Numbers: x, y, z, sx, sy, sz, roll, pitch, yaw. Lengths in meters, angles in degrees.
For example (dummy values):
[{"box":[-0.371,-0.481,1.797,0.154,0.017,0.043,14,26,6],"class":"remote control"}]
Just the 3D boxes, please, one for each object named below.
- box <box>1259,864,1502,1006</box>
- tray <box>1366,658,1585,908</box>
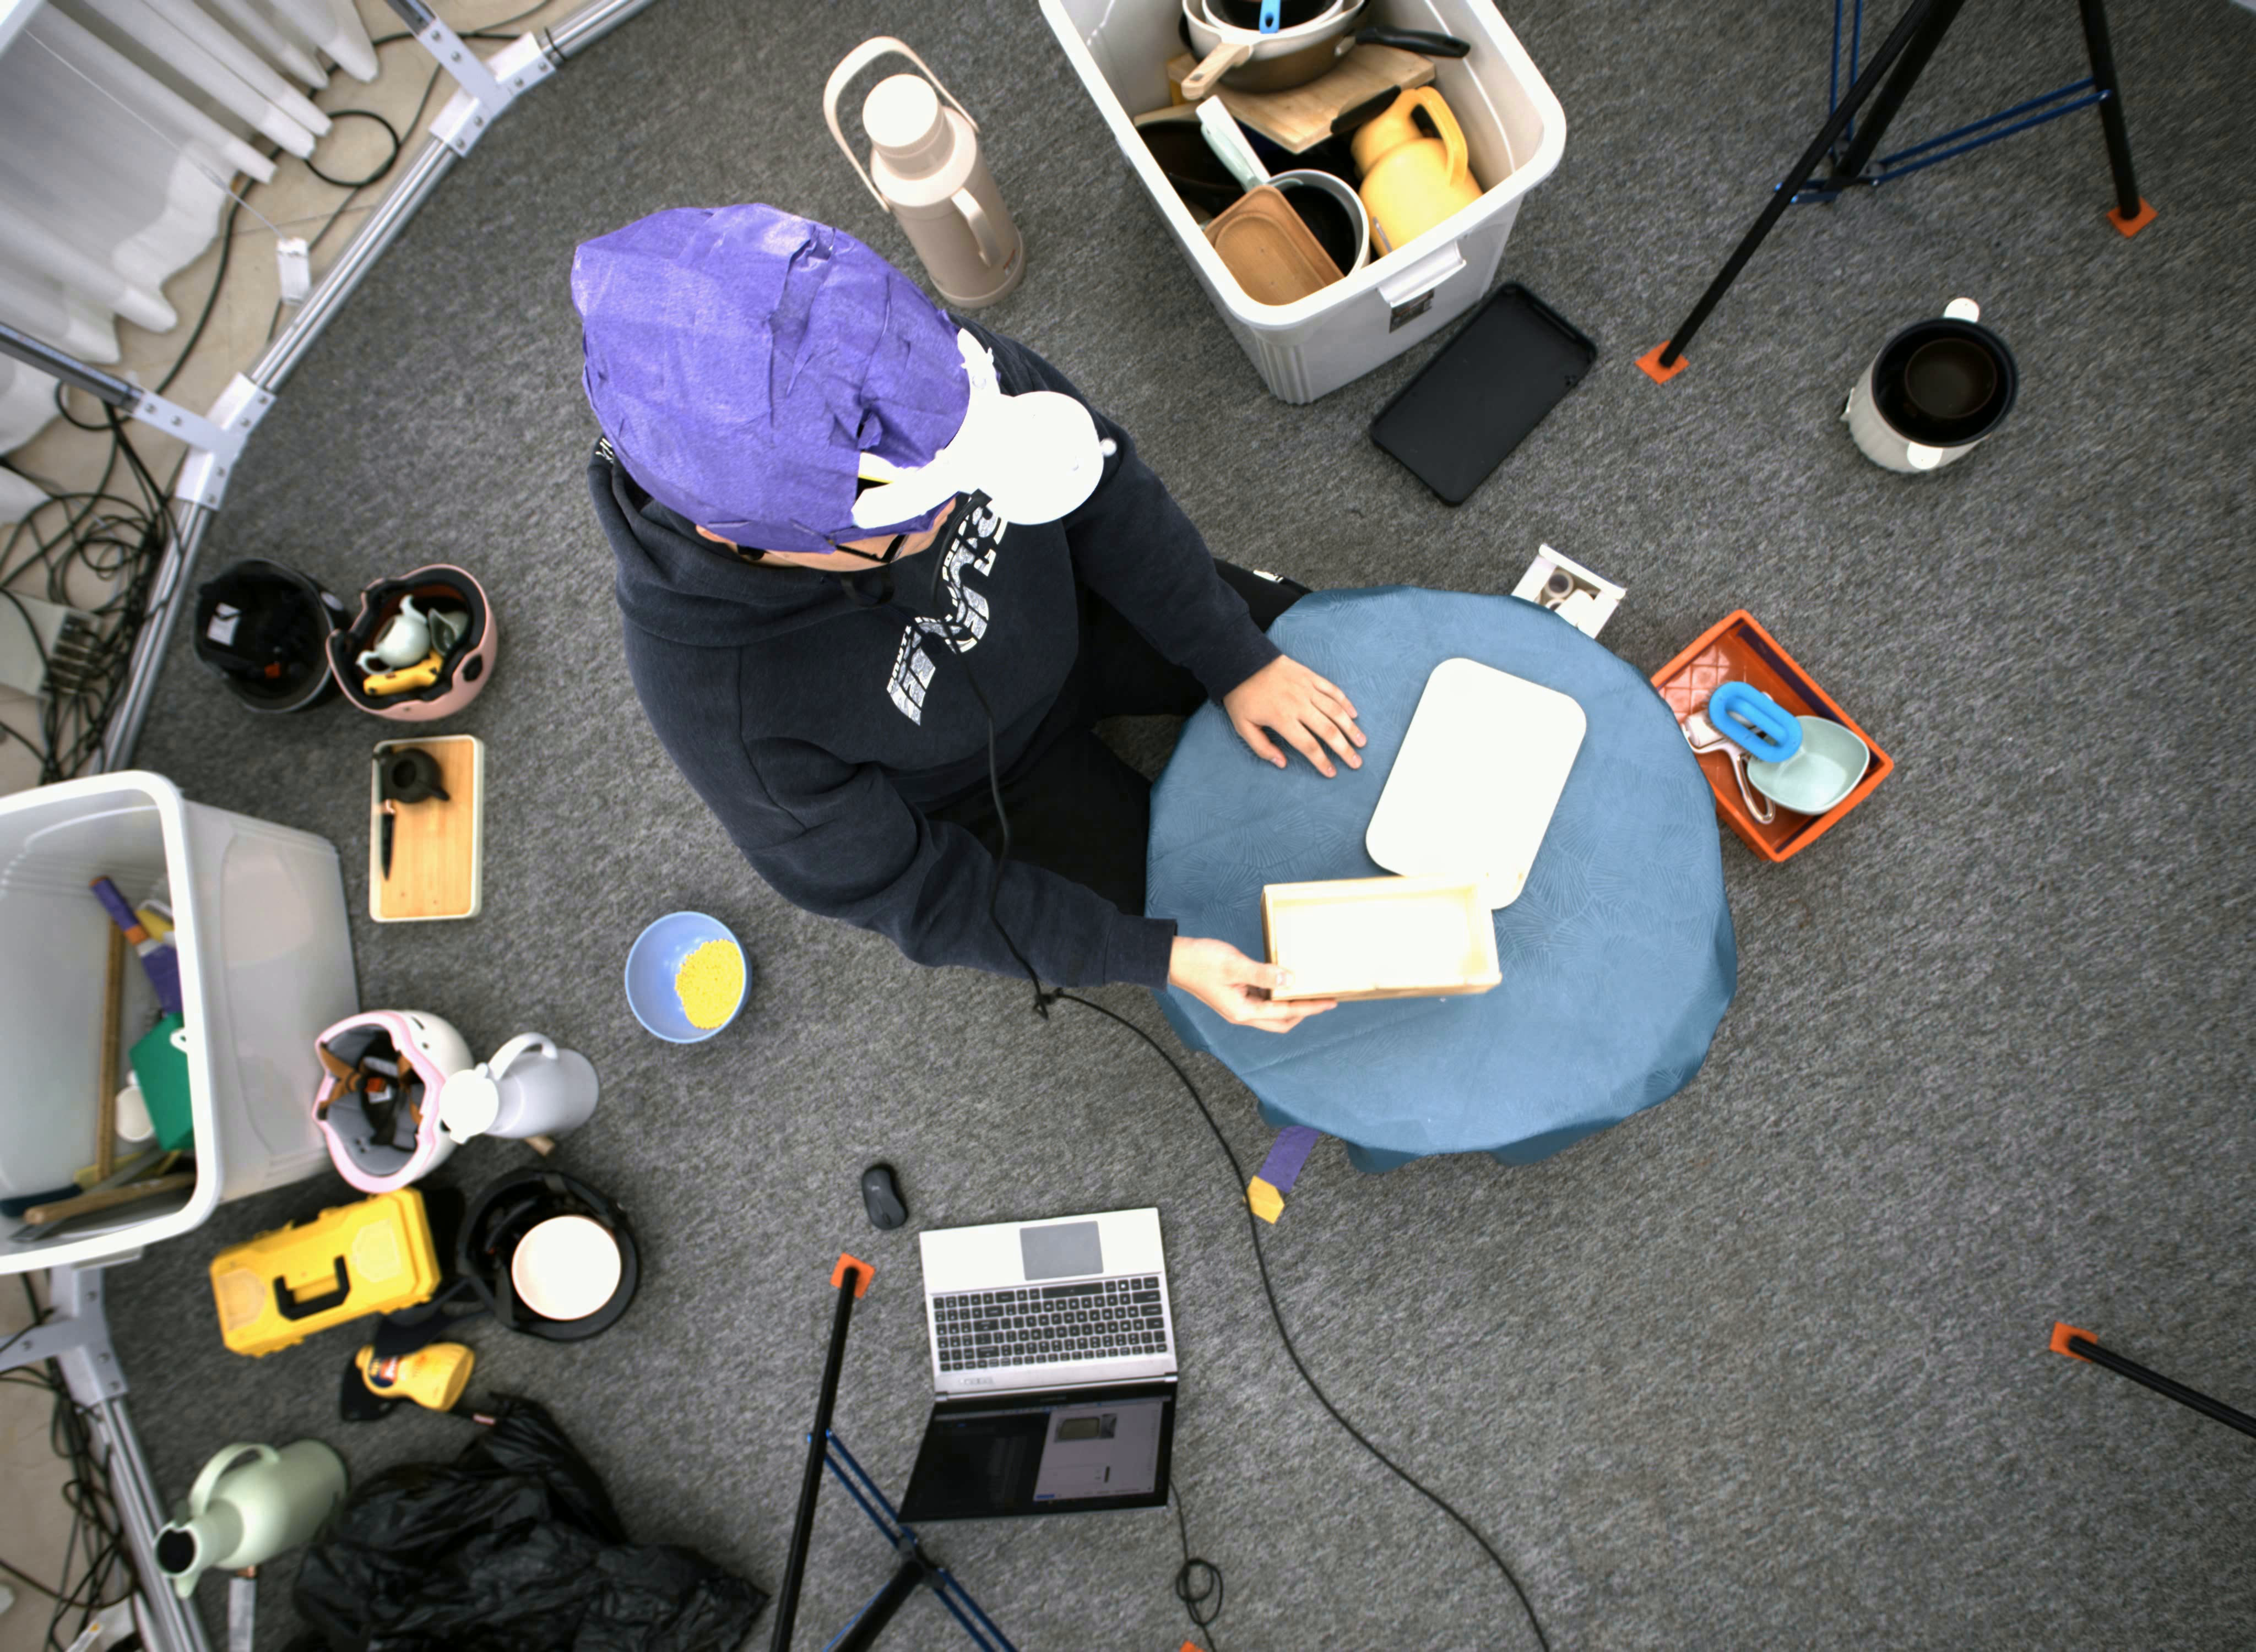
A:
[{"box":[0.237,0.104,1.318,0.212,0.081,0.106,-6,76,1],"class":"box"},{"box":[0.364,-0.048,1.441,0.171,0.017,0.239,22,91,12],"class":"tray"}]
